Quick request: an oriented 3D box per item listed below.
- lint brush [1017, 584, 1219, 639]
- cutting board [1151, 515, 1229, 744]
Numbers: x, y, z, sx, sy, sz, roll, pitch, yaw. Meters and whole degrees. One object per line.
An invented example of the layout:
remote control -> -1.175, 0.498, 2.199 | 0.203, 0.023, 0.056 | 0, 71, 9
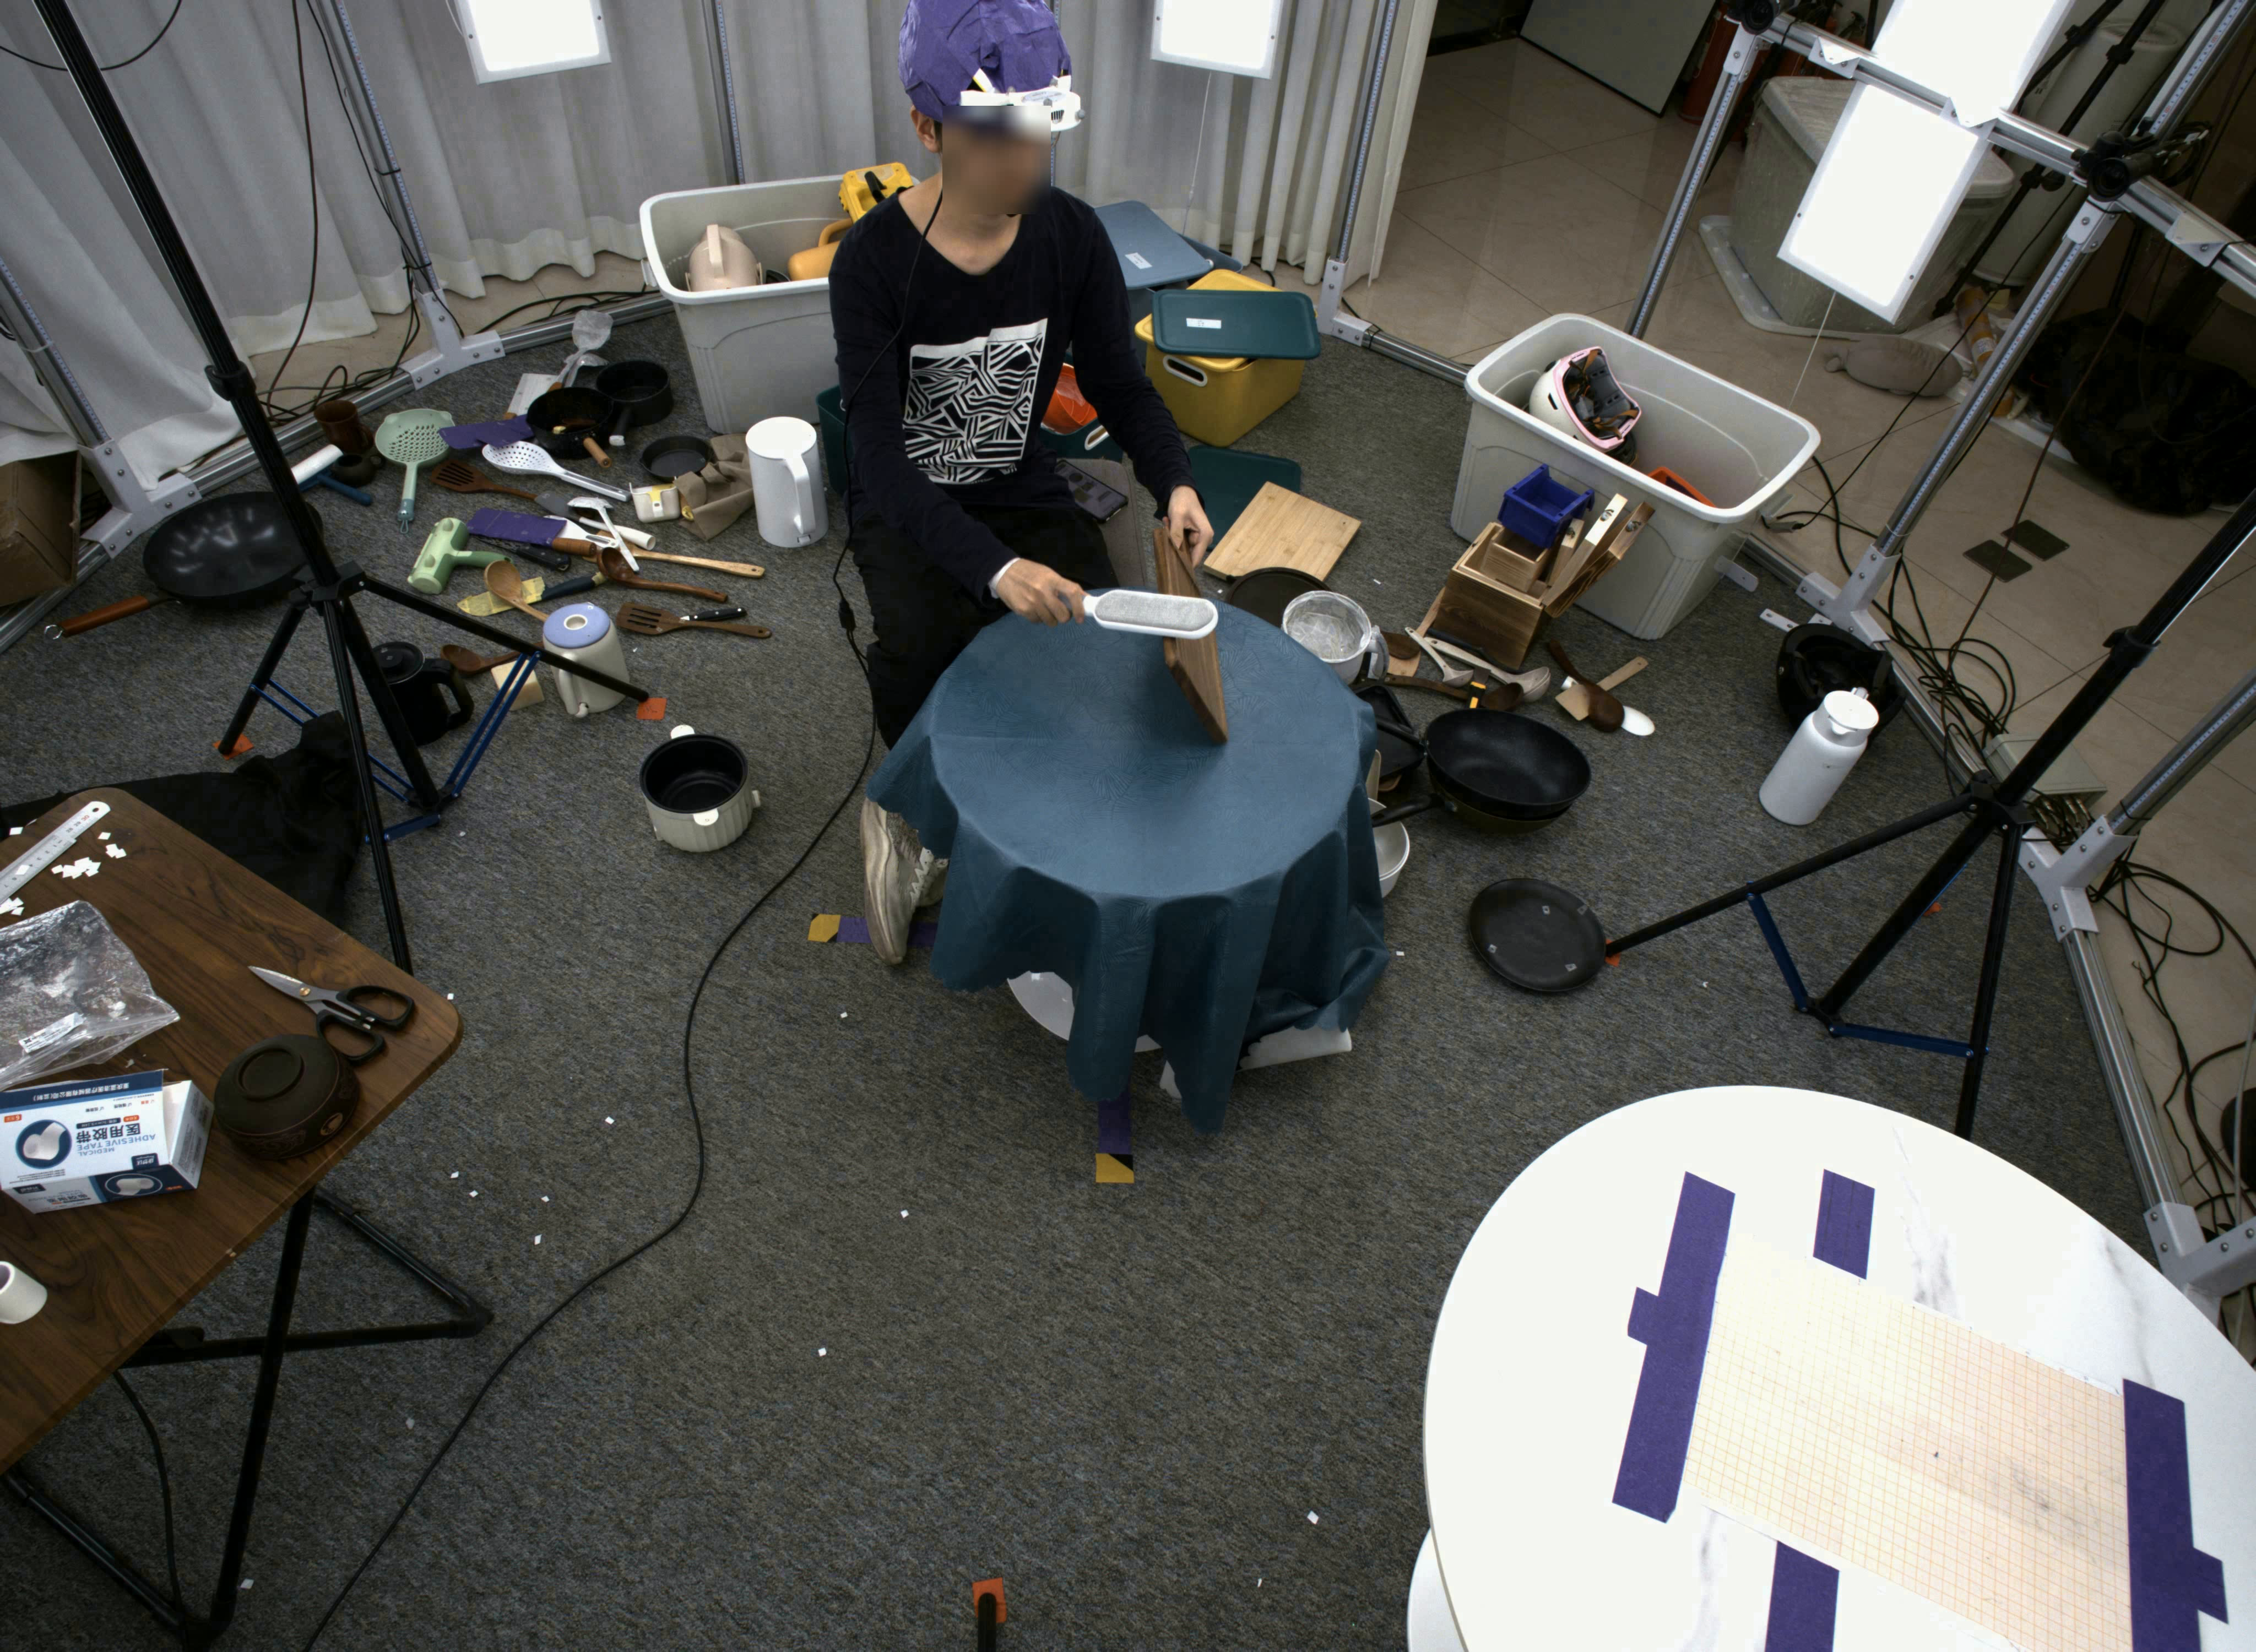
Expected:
lint brush -> -0.020, -0.291, 1.697 | 0.311, 0.020, 0.061 | 13, 71, 31
cutting board -> 0.083, -0.303, 1.799 | 0.023, 0.196, 0.361 | -18, 53, 18
